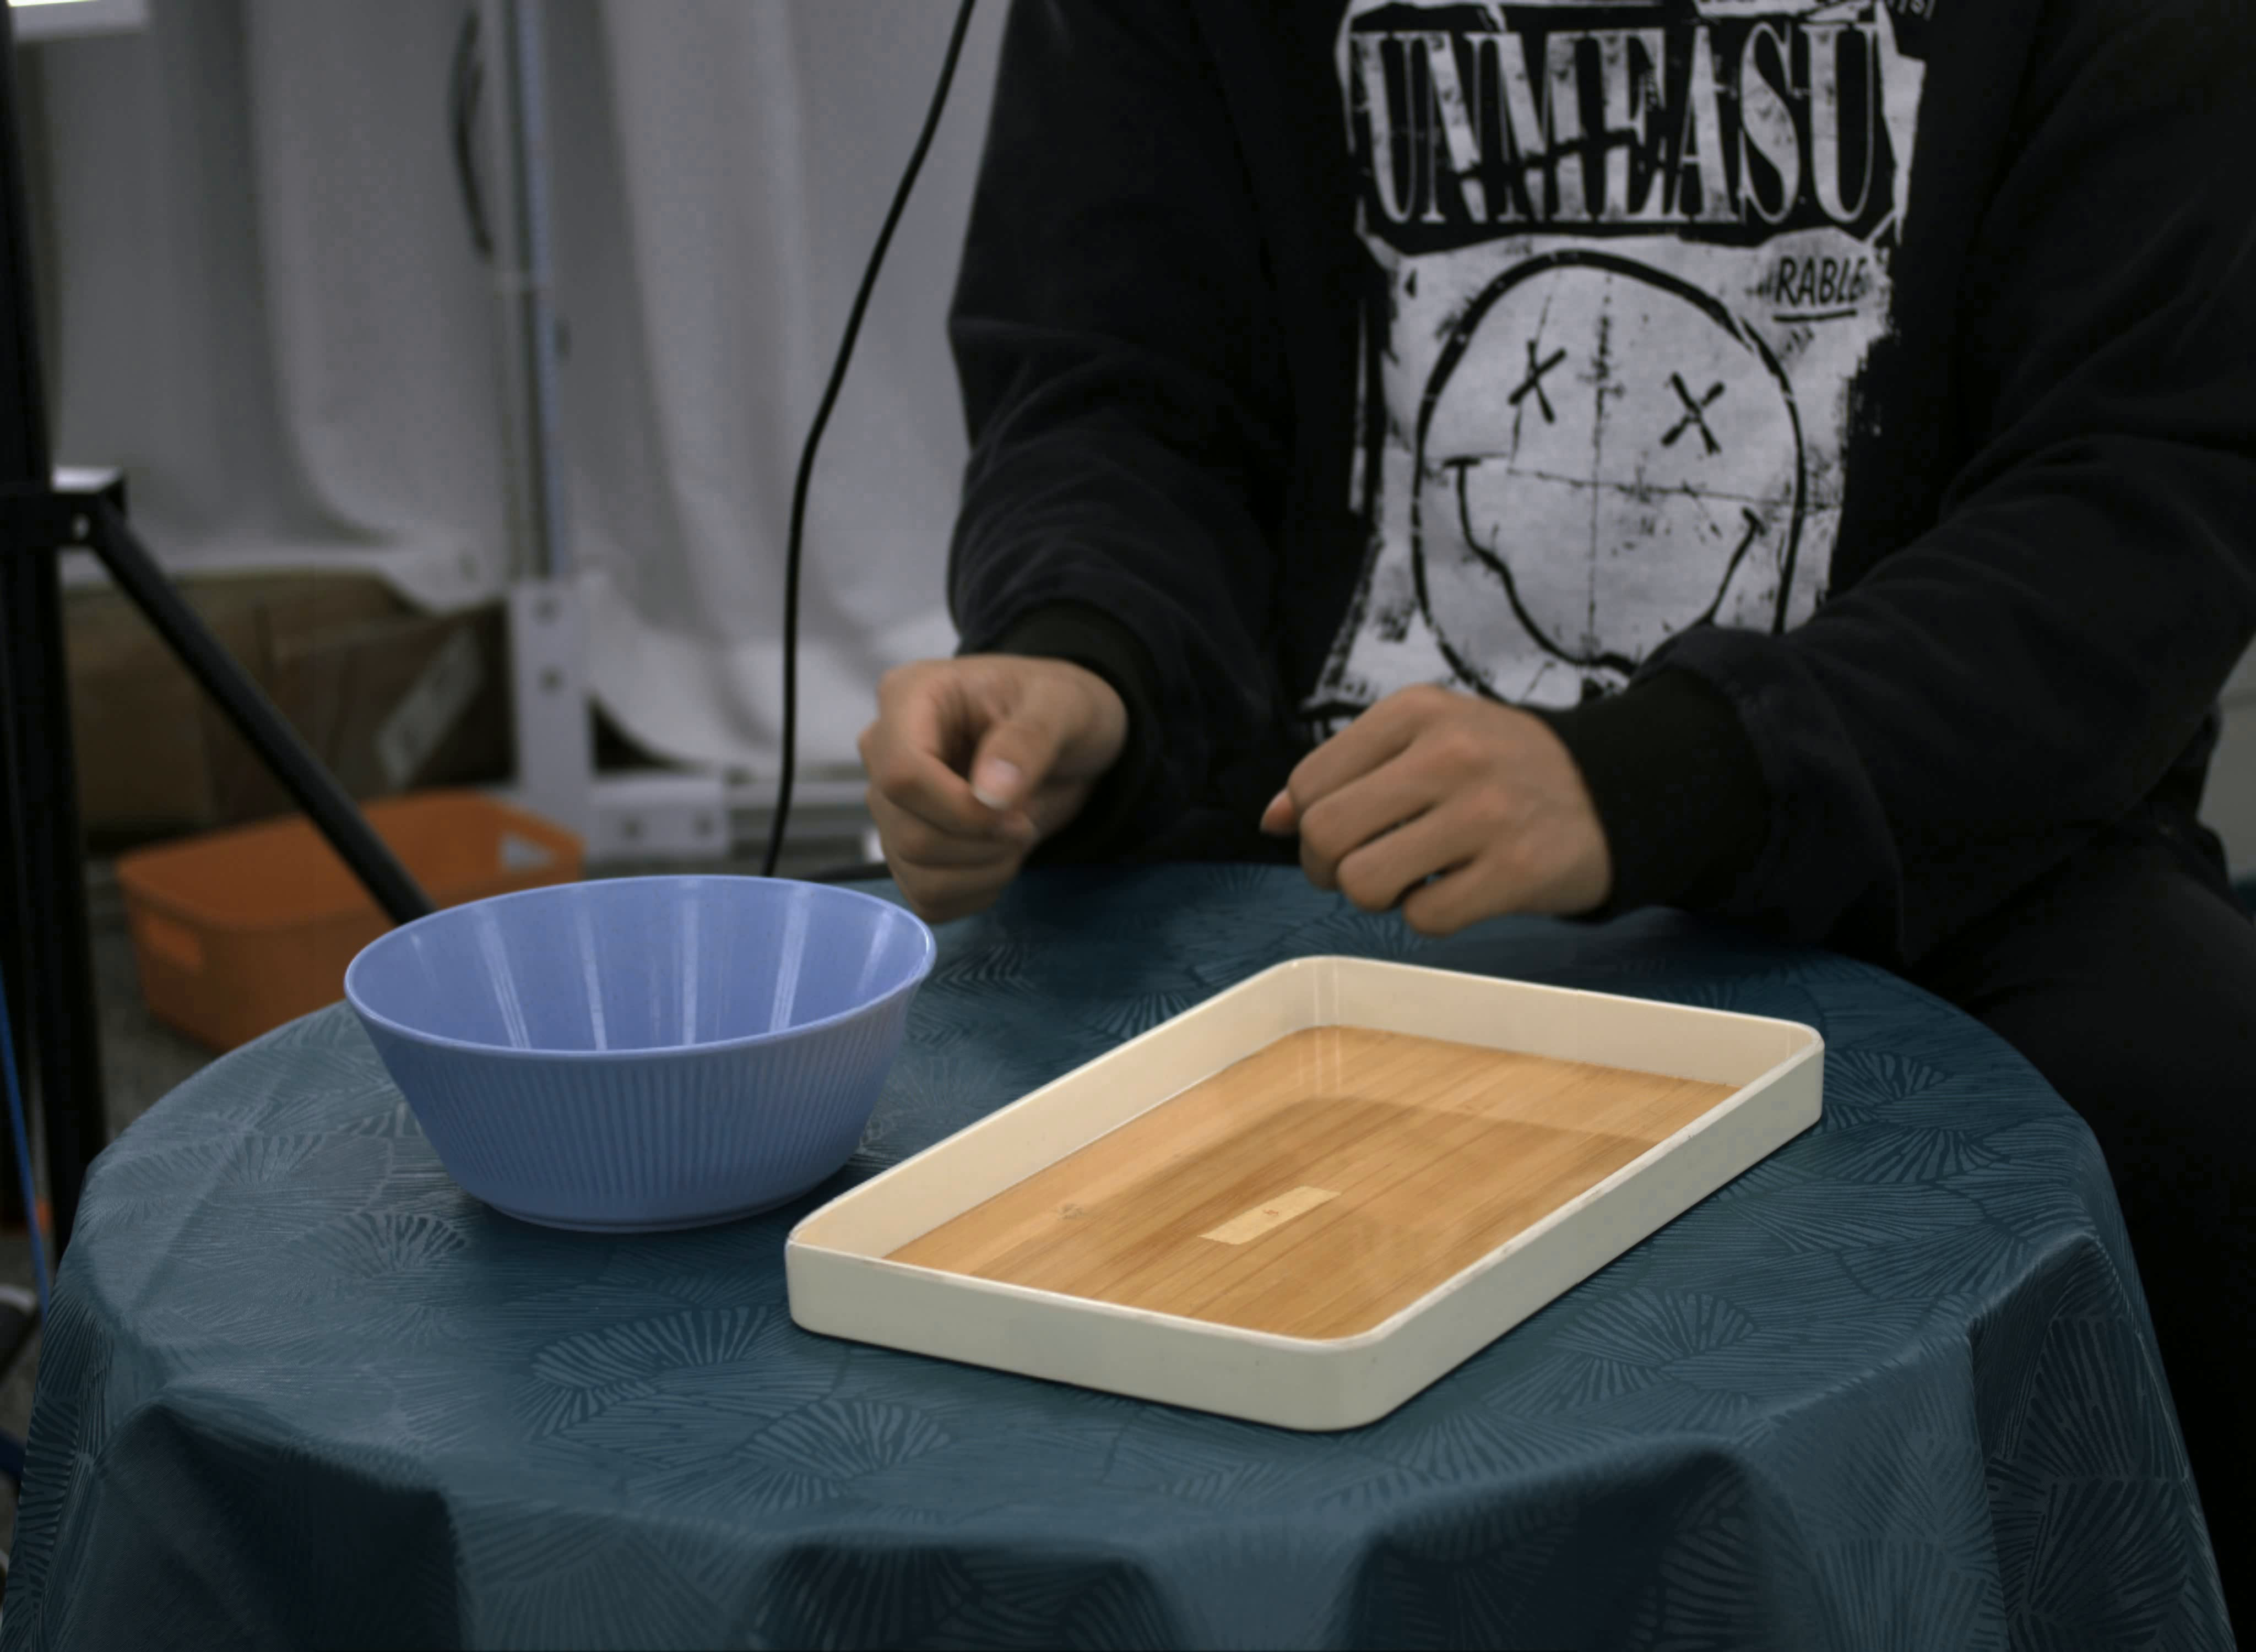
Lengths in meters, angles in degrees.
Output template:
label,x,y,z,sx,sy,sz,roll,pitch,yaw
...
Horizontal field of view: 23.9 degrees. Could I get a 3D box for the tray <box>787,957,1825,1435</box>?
label,x,y,z,sx,sy,sz,roll,pitch,yaw
tray,0.058,0.101,1.527,0.195,0.027,0.294,7,19,33

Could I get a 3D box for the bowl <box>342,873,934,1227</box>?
label,x,y,z,sx,sy,sz,roll,pitch,yaw
bowl,-0.144,0.069,1.588,0.175,0.070,0.177,-2,16,-1
